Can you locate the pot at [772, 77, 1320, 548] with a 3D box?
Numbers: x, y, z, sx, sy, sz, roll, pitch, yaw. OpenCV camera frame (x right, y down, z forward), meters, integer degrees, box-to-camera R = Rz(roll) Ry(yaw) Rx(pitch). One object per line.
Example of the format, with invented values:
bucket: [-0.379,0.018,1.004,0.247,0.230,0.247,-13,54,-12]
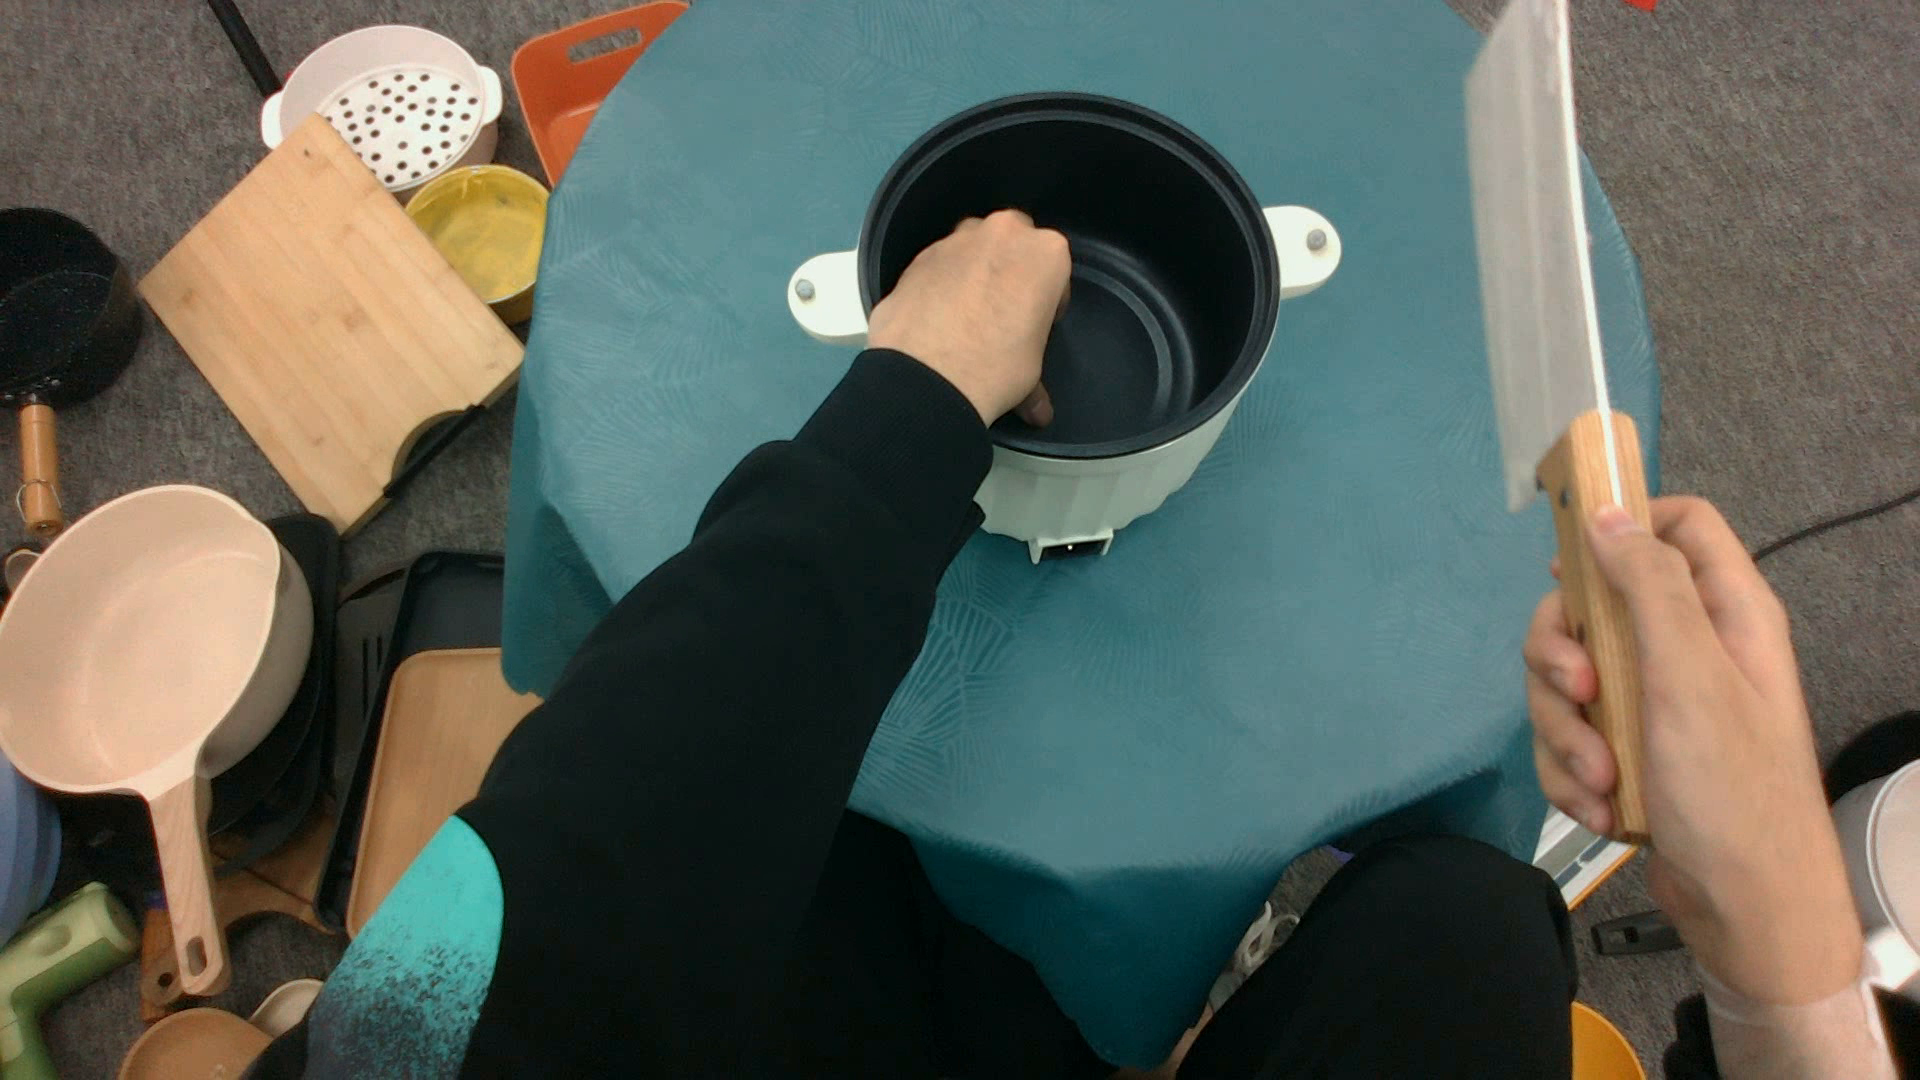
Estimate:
pot: [0.034,-0.105,0.649,0.240,0.142,0.191,-8,73,-8]

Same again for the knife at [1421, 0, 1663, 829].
knife: [0.187,-0.063,0.459,0.022,0.113,0.316,-3,69,2]
